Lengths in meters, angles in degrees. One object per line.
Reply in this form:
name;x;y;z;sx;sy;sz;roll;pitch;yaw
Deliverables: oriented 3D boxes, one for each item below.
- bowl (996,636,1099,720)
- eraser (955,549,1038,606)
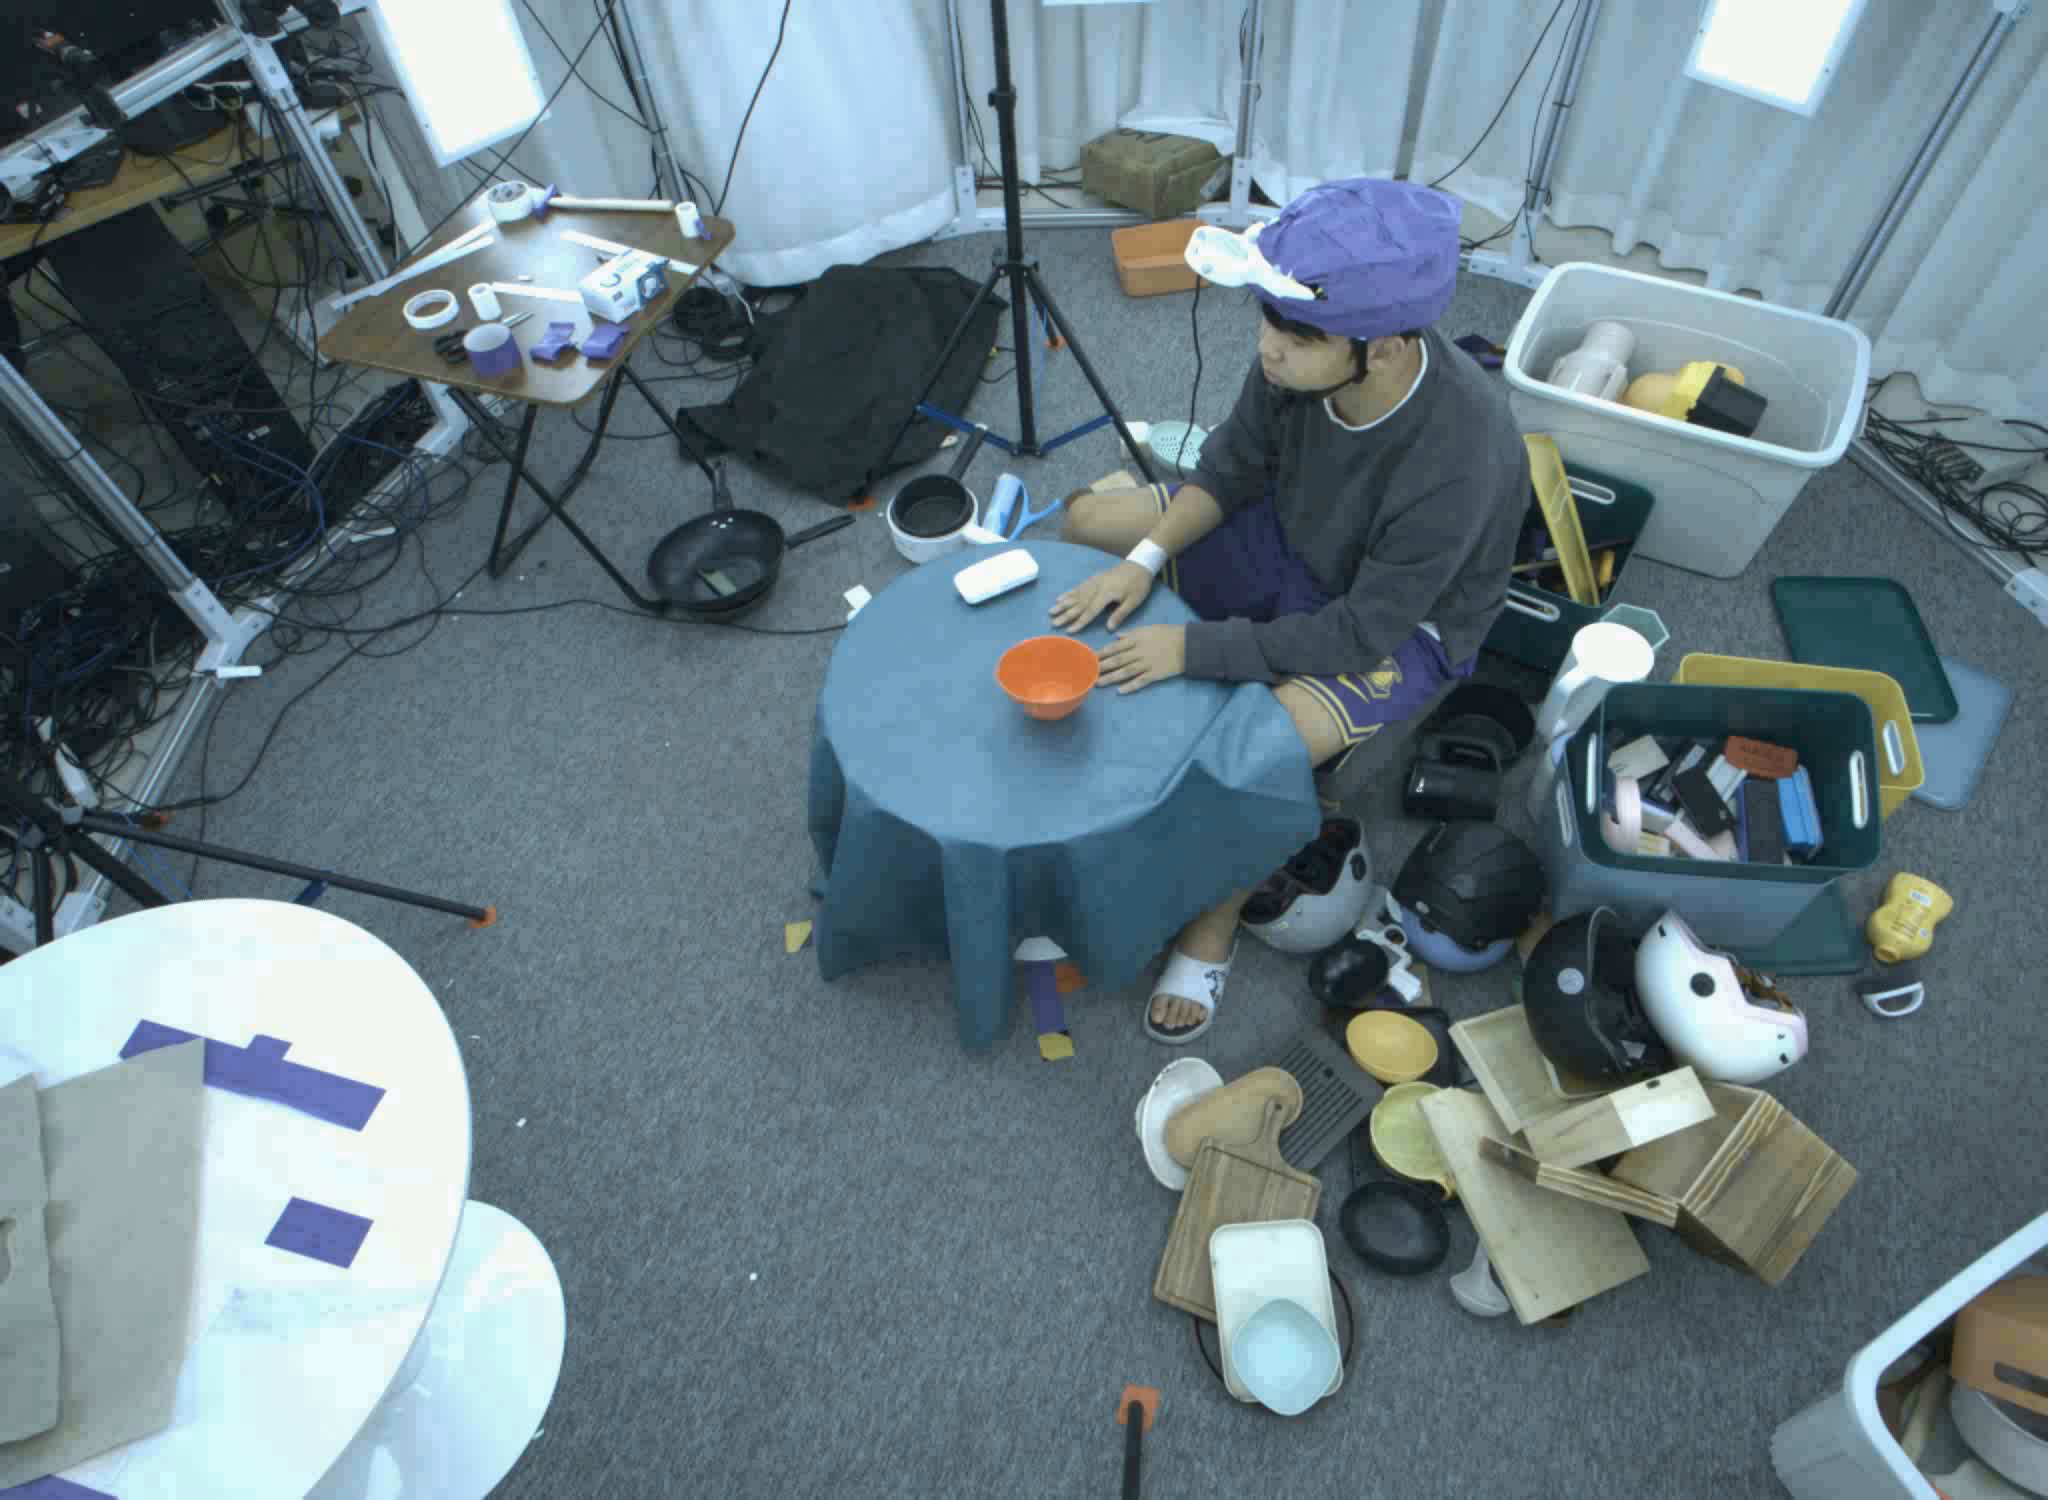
bowl;0.036;-0.091;1.792;0.148;0.106;0.146;-1;54;2
eraser;-0.043;-0.278;1.969;0.132;0.035;0.062;-24;58;-12
